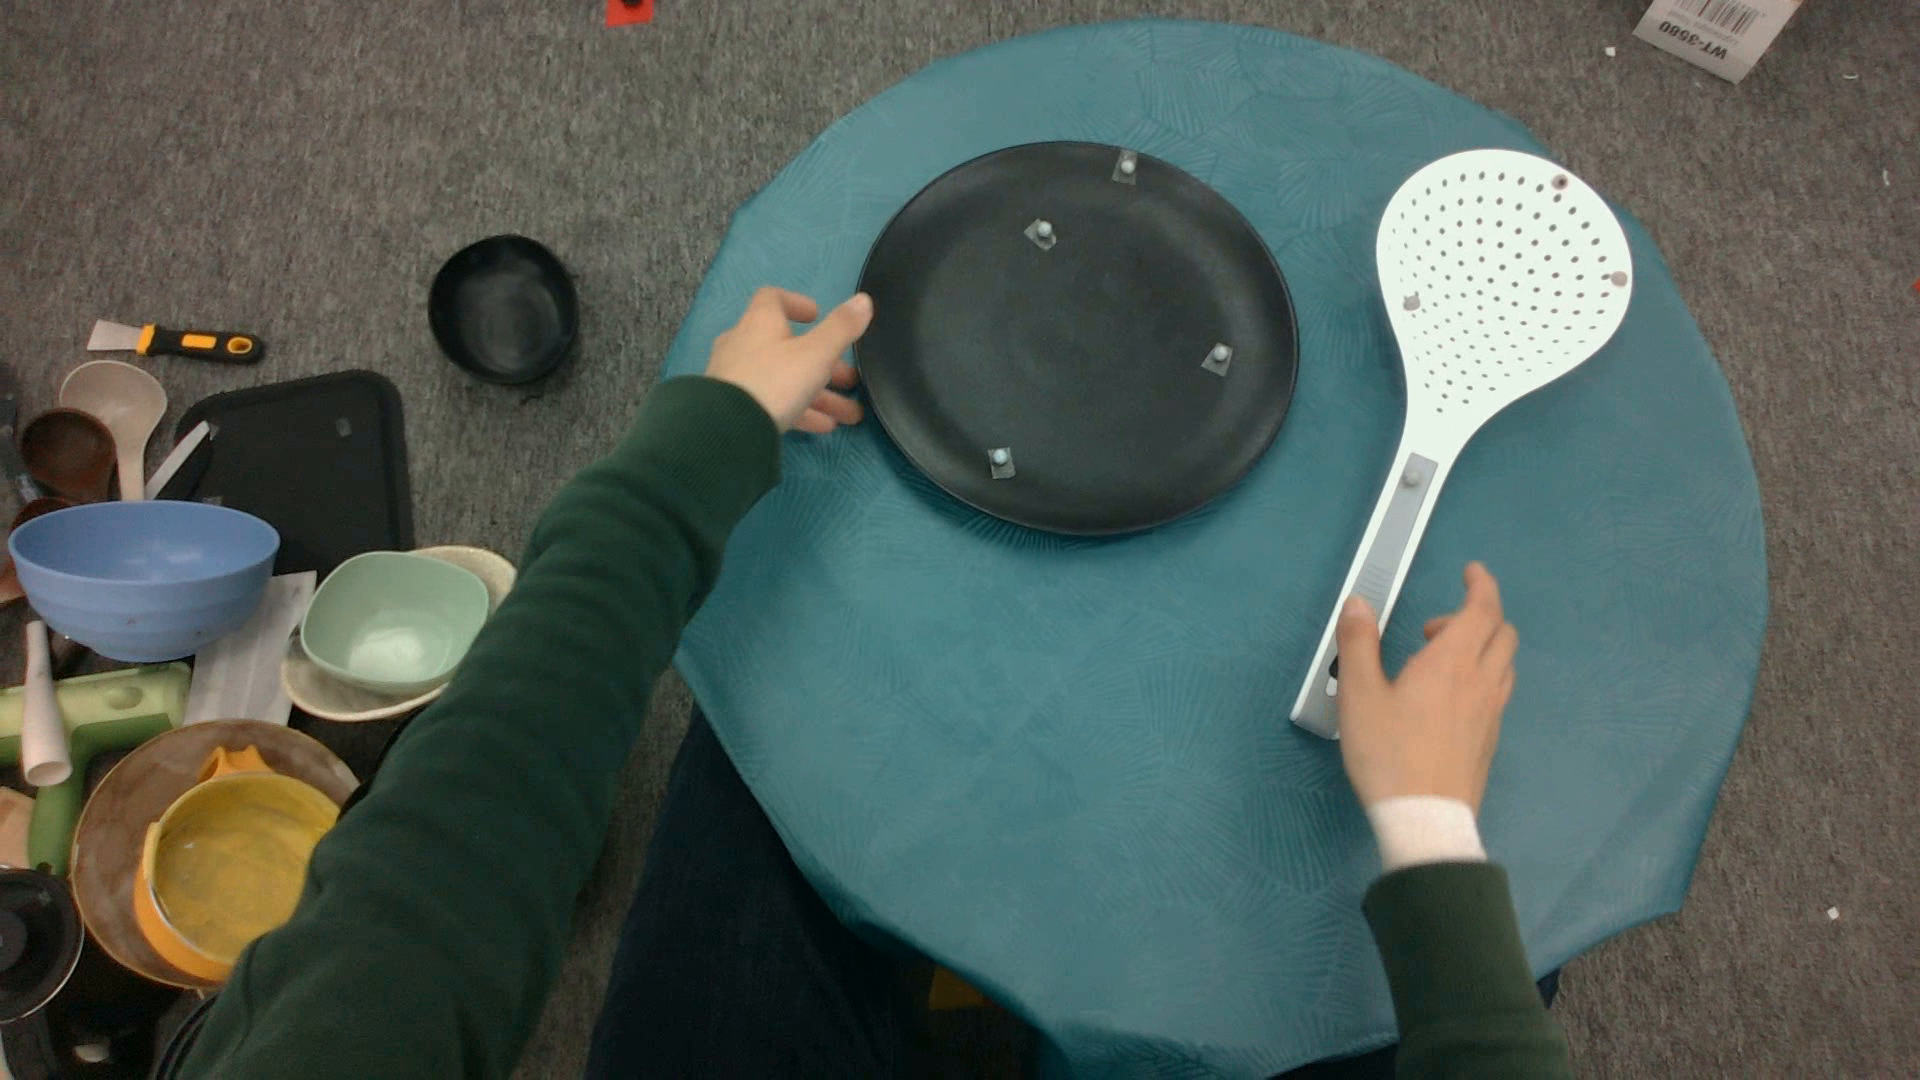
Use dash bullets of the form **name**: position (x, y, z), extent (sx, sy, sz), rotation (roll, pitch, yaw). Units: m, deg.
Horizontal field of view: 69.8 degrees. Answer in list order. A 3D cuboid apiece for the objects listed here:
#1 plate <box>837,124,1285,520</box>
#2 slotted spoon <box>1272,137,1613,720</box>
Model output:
- **plate**: position (0.055, -0.120, 0.751), extent (0.244, 0.023, 0.245), rotation (1, 69, -3)
- **slotted spoon**: position (0.242, -0.065, 0.731), extent (0.136, 0.045, 0.351), rotation (24, 70, 8)
